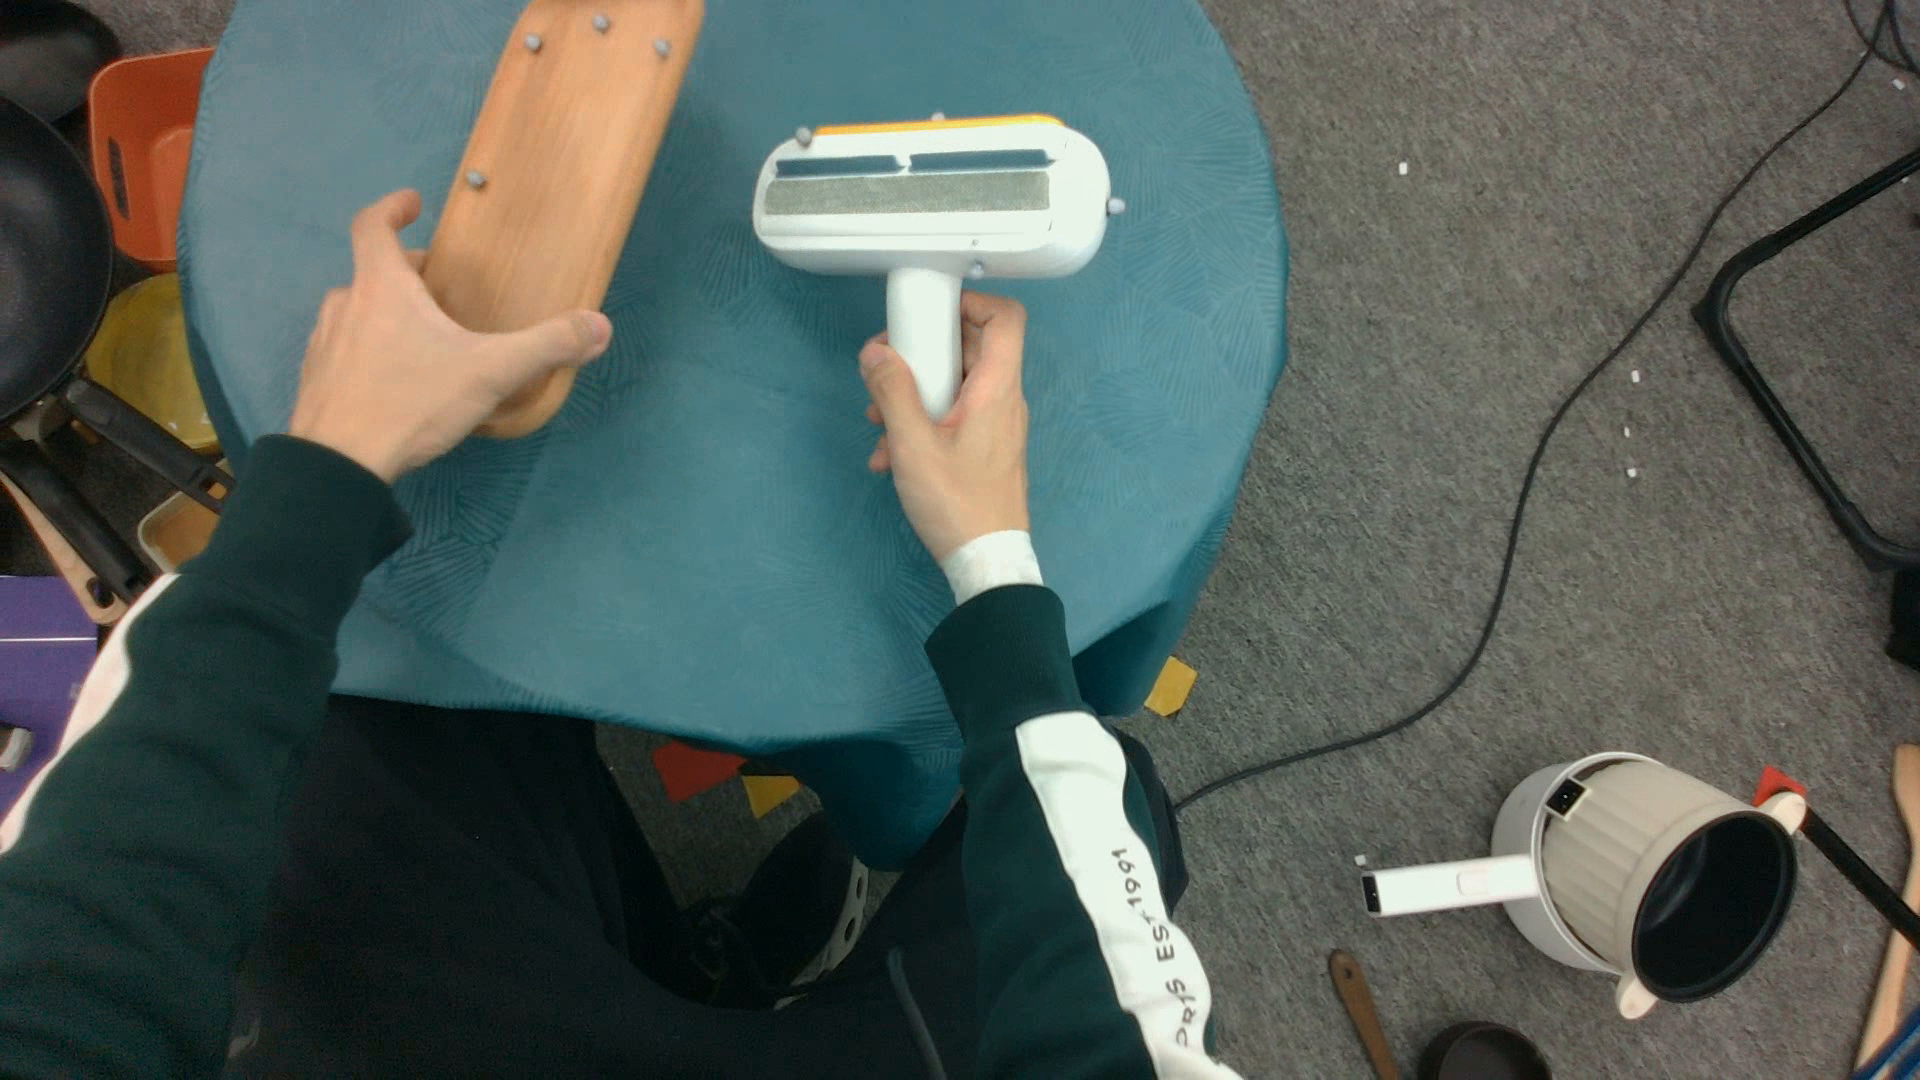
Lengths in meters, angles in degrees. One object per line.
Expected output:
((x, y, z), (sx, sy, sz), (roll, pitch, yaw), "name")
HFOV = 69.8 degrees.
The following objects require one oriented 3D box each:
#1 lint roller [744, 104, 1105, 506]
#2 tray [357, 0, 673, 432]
((-0.026, -0.111, 0.675), (0.192, 0.074, 0.192), (12, 96, 27), "lint roller")
((-0.212, -0.169, 0.662), (0.023, 0.130, 0.251), (29, 71, -50), "tray")
